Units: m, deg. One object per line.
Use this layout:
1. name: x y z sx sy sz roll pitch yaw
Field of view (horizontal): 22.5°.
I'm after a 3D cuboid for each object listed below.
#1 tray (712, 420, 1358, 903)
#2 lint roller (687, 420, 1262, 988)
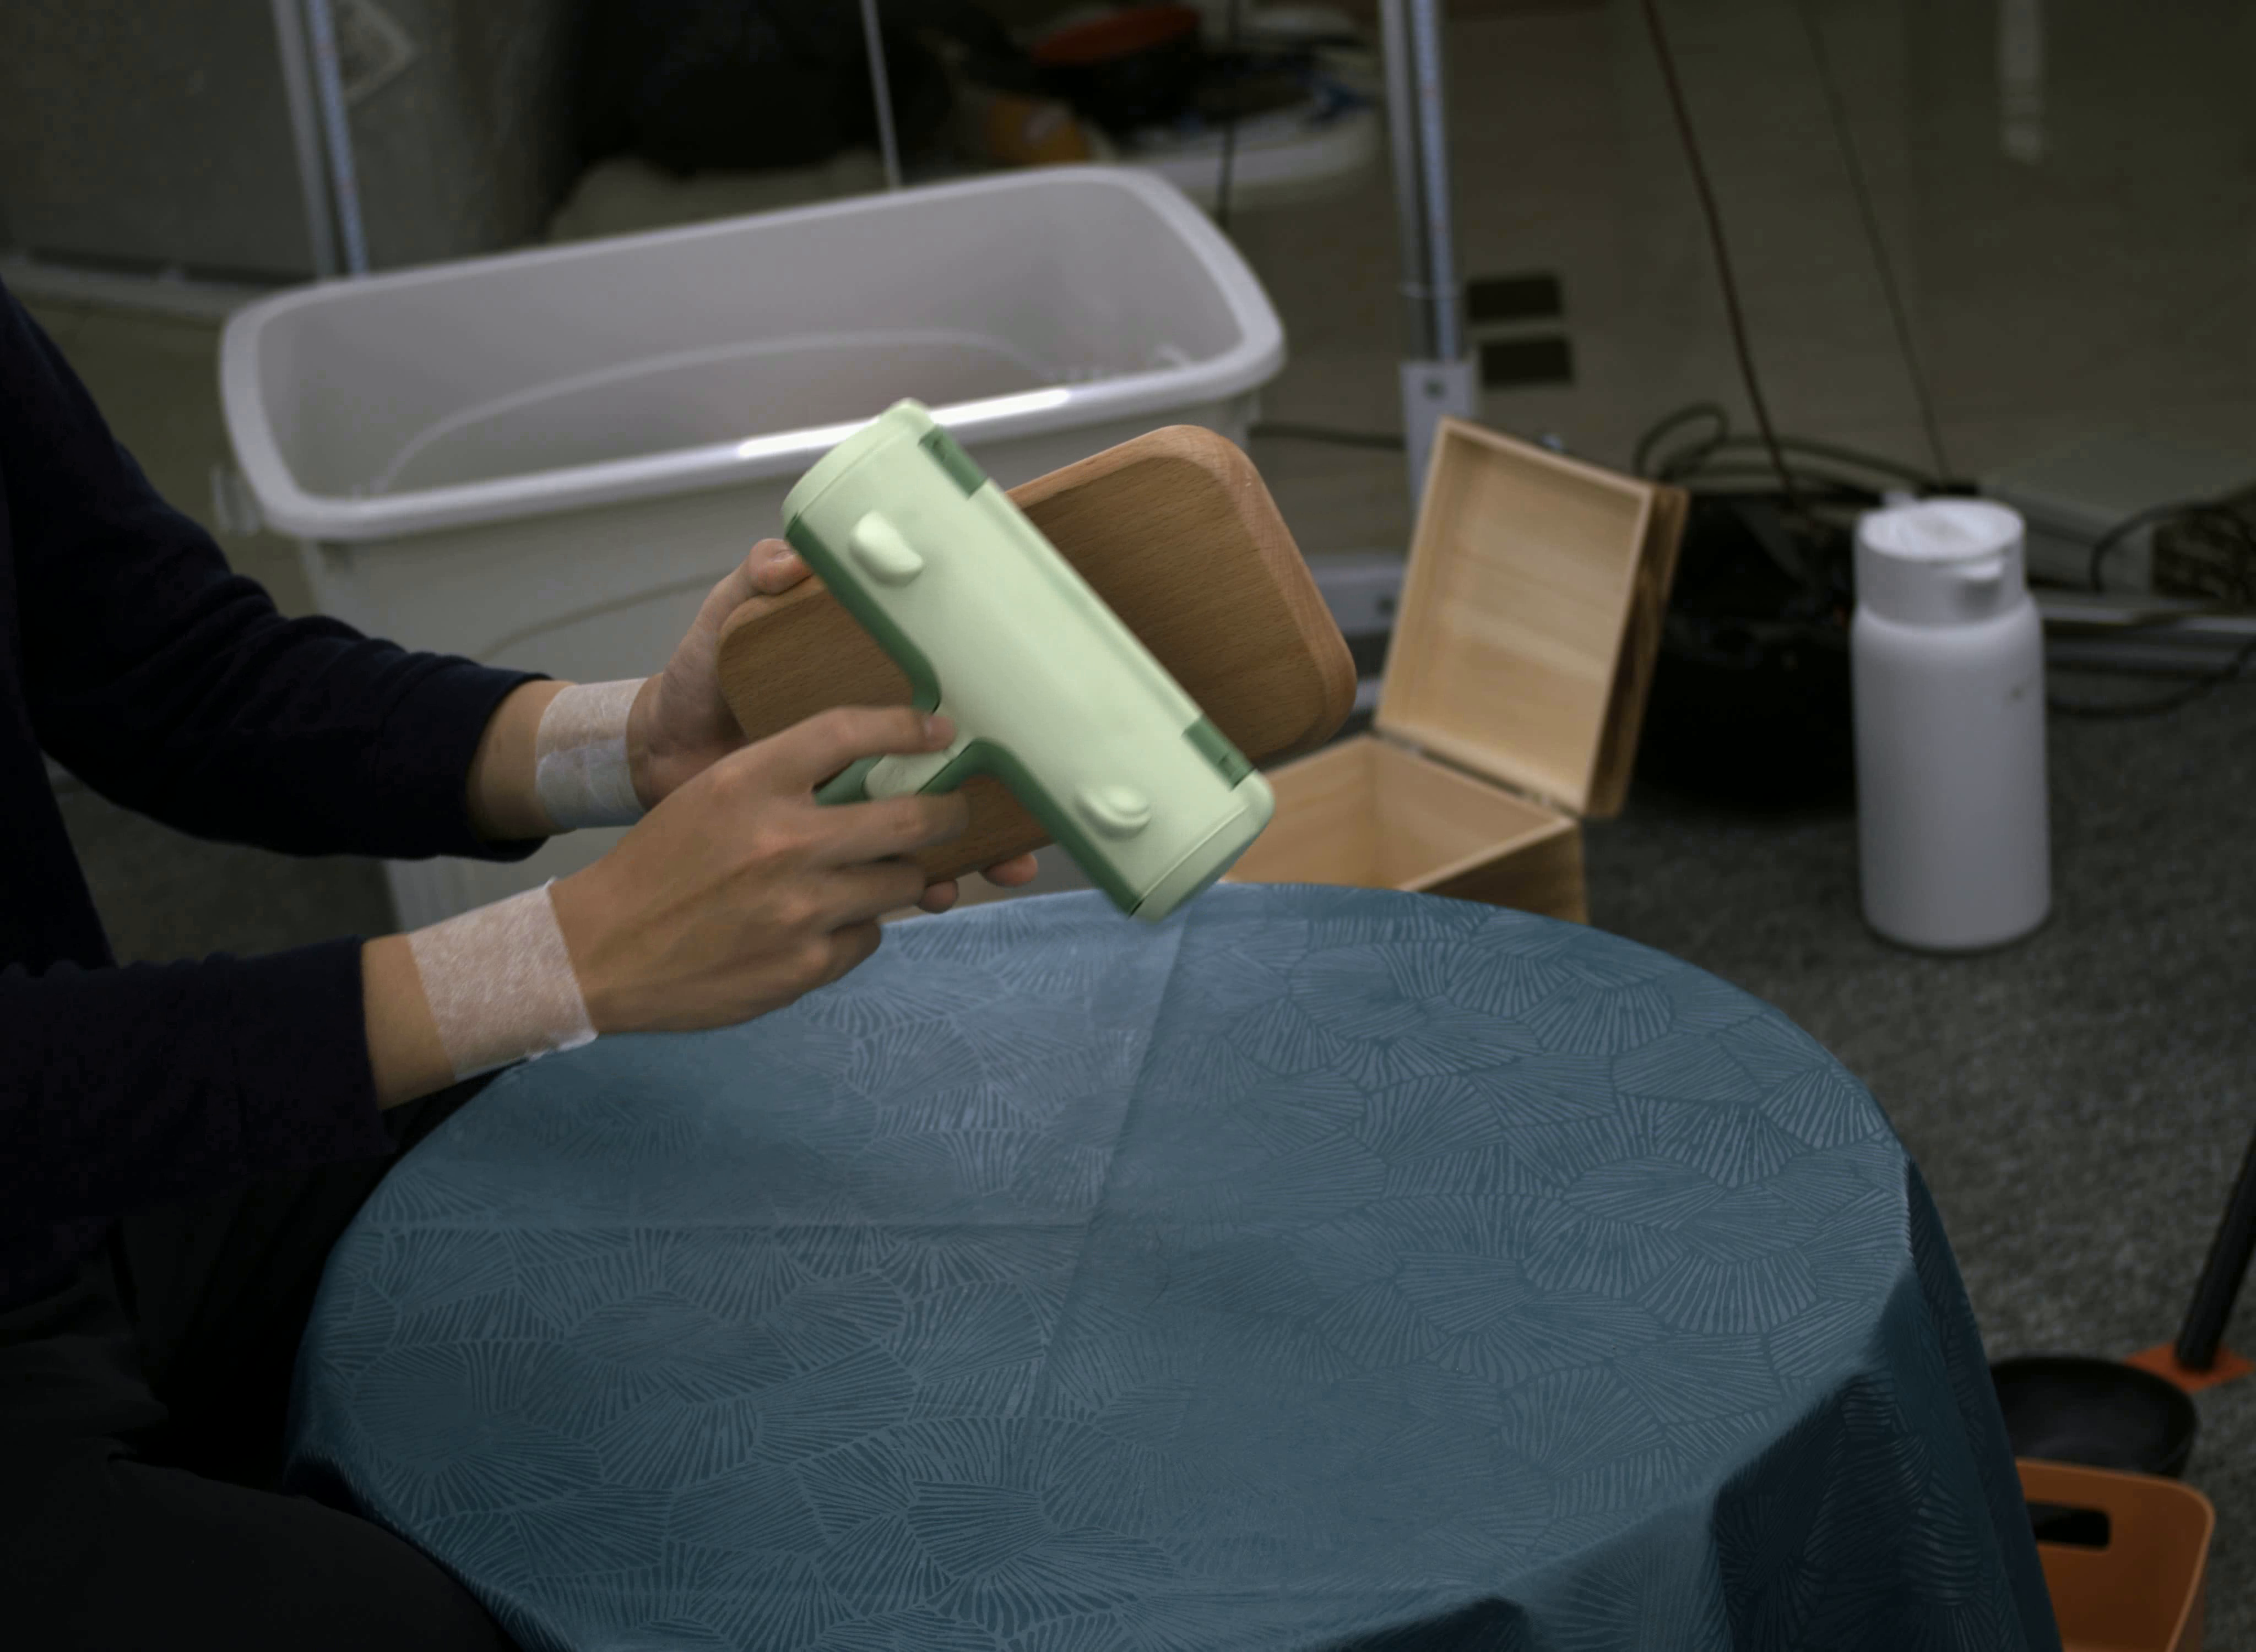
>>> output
1. tray: -0.038 -0.056 2.038 0.252 0.131 0.022 -21 12 34
2. lint roller: -0.083 -0.012 1.938 0.183 0.198 0.082 -42 -4 -4
